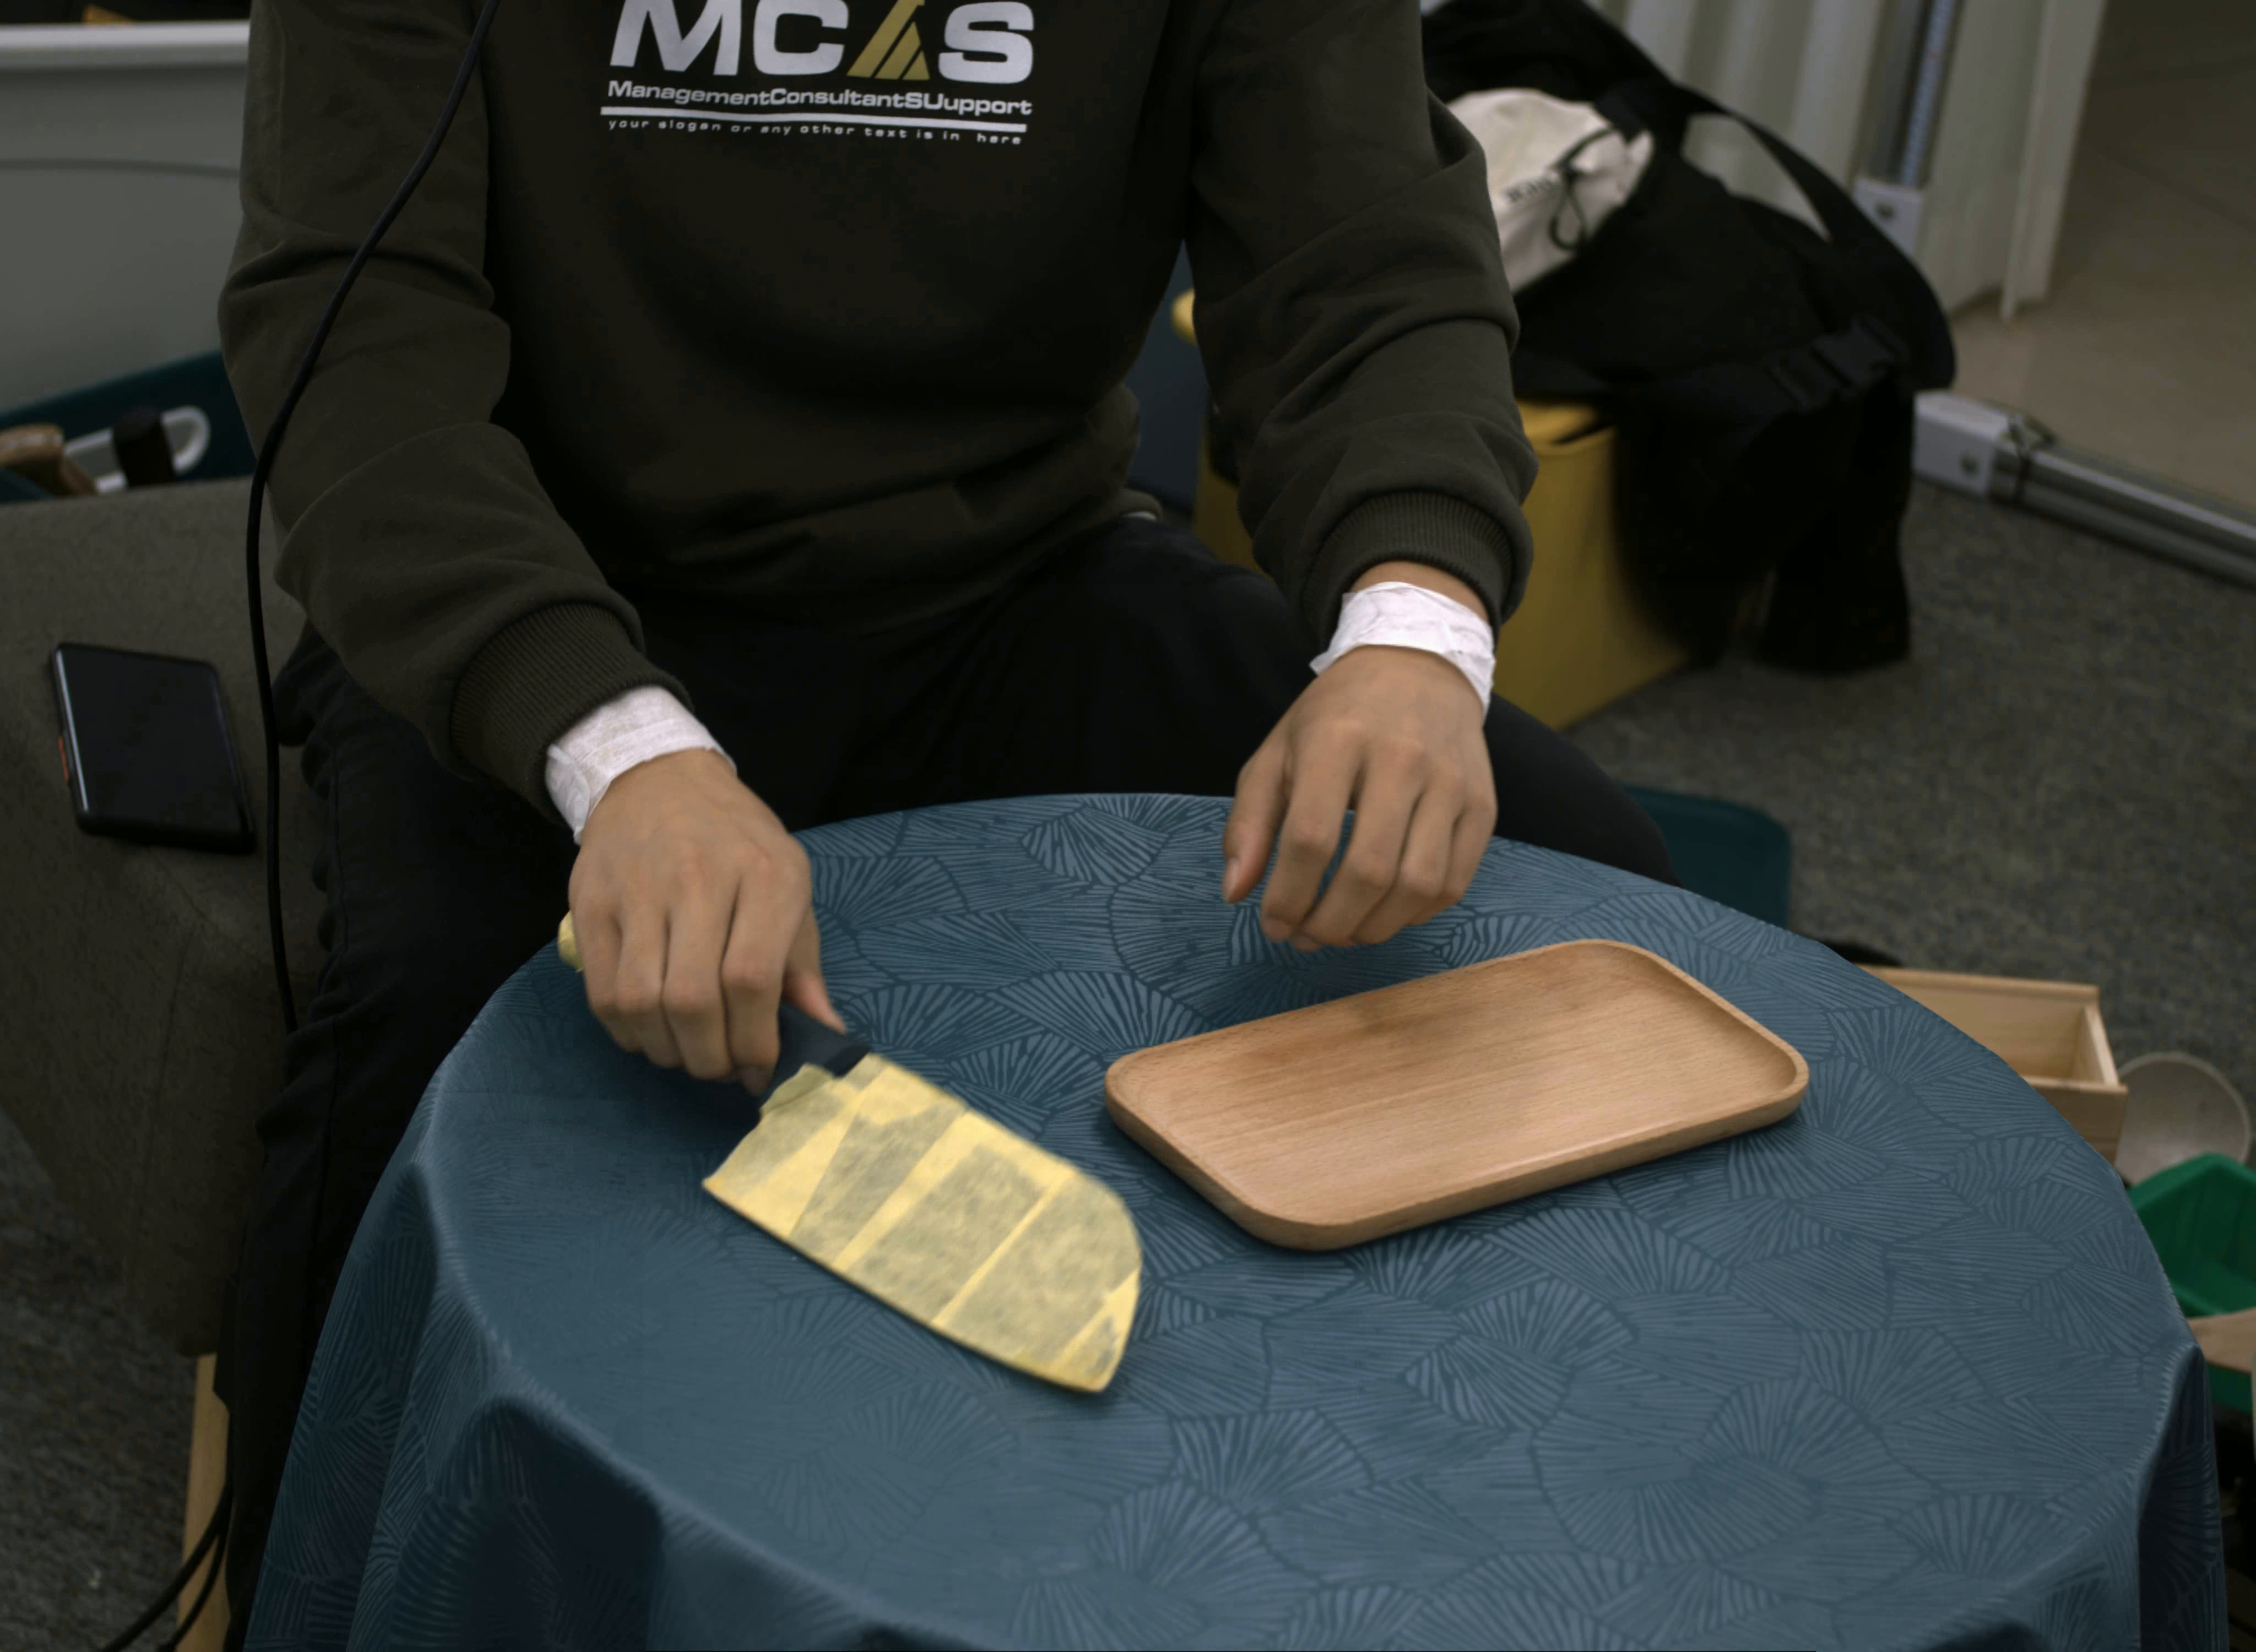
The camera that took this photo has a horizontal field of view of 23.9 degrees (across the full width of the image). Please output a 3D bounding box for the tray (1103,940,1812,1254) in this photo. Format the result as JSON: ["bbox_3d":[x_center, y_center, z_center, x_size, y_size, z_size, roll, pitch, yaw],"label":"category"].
[{"bbox_3d":[0.117,0.094,1.872,0.249,0.023,0.131,-13,30,-33],"label":"tray"}]

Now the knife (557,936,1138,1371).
[{"bbox_3d":[-0.102,0.108,1.772,0.081,0.027,0.292,-41,48,-23],"label":"knife"}]
